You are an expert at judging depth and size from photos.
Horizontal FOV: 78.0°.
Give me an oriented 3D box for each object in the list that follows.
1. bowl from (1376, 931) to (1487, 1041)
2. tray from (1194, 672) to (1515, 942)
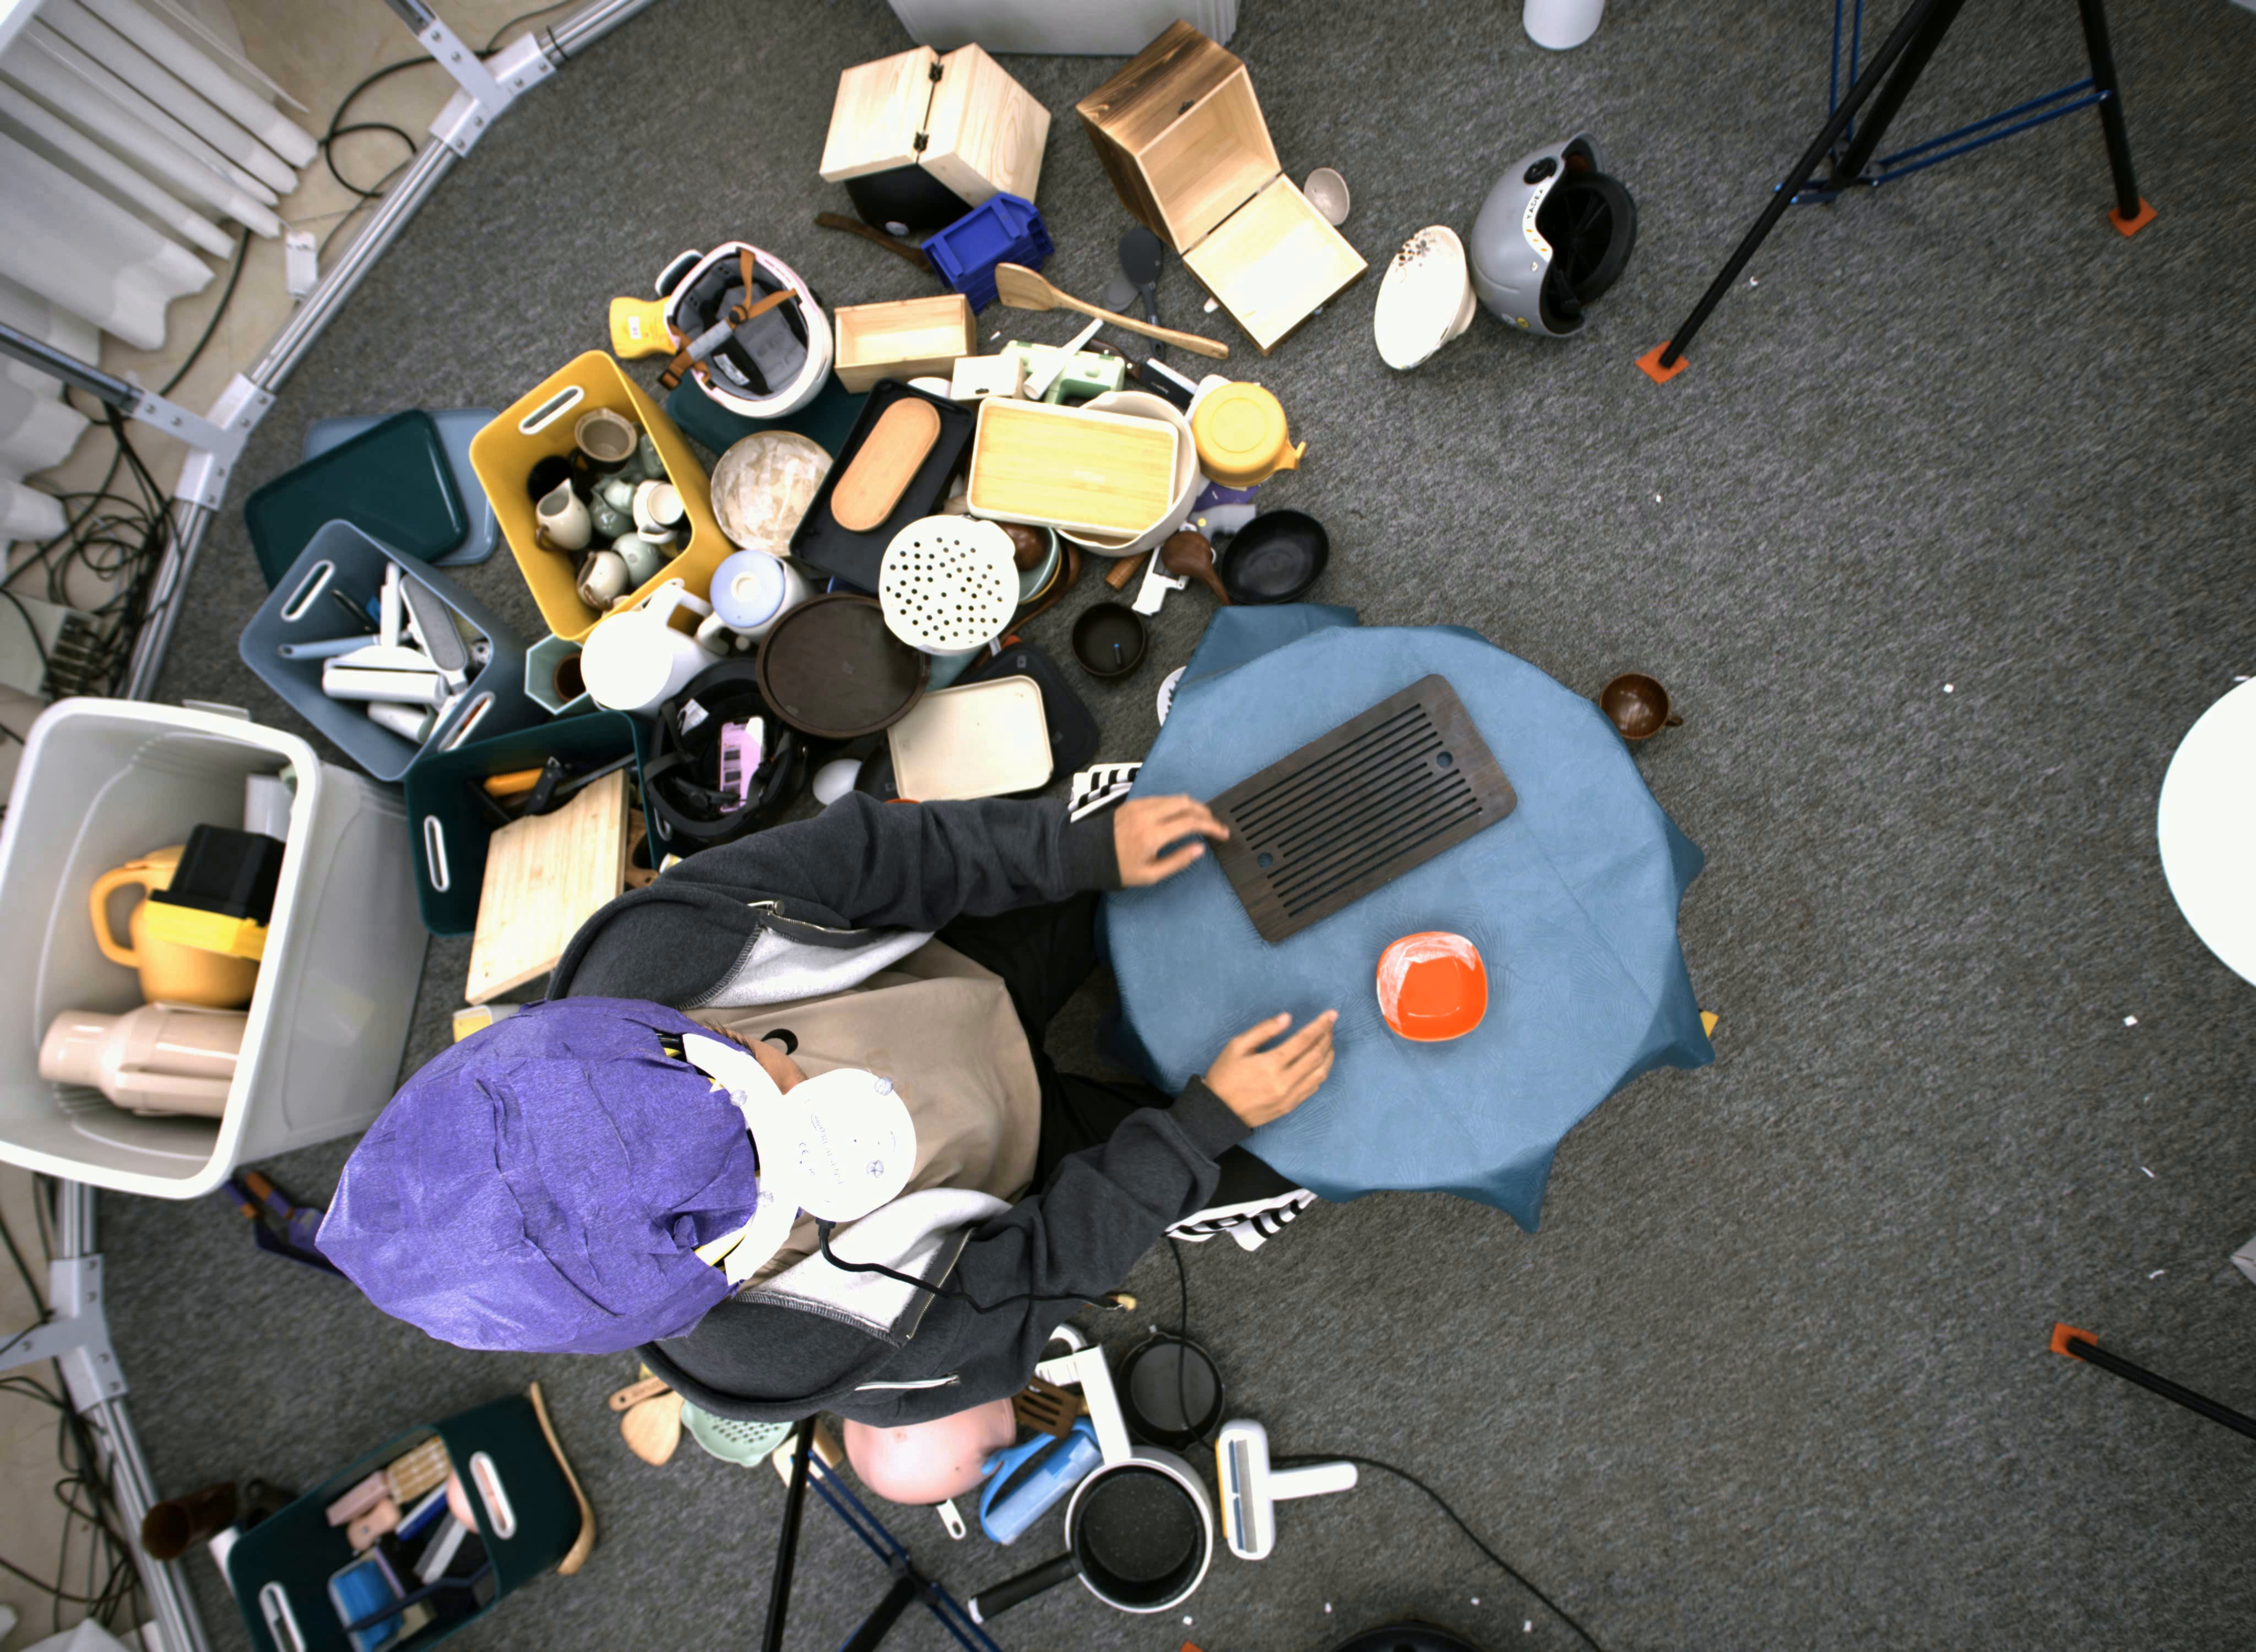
[{"bbox_3d":[0.311,0.163,1.419,0.119,0.051,0.118,-1,87,9],"label":"bowl"},{"bbox_3d":[0.238,-0.021,1.461,0.308,0.018,0.169,-30,82,8],"label":"tray"}]
